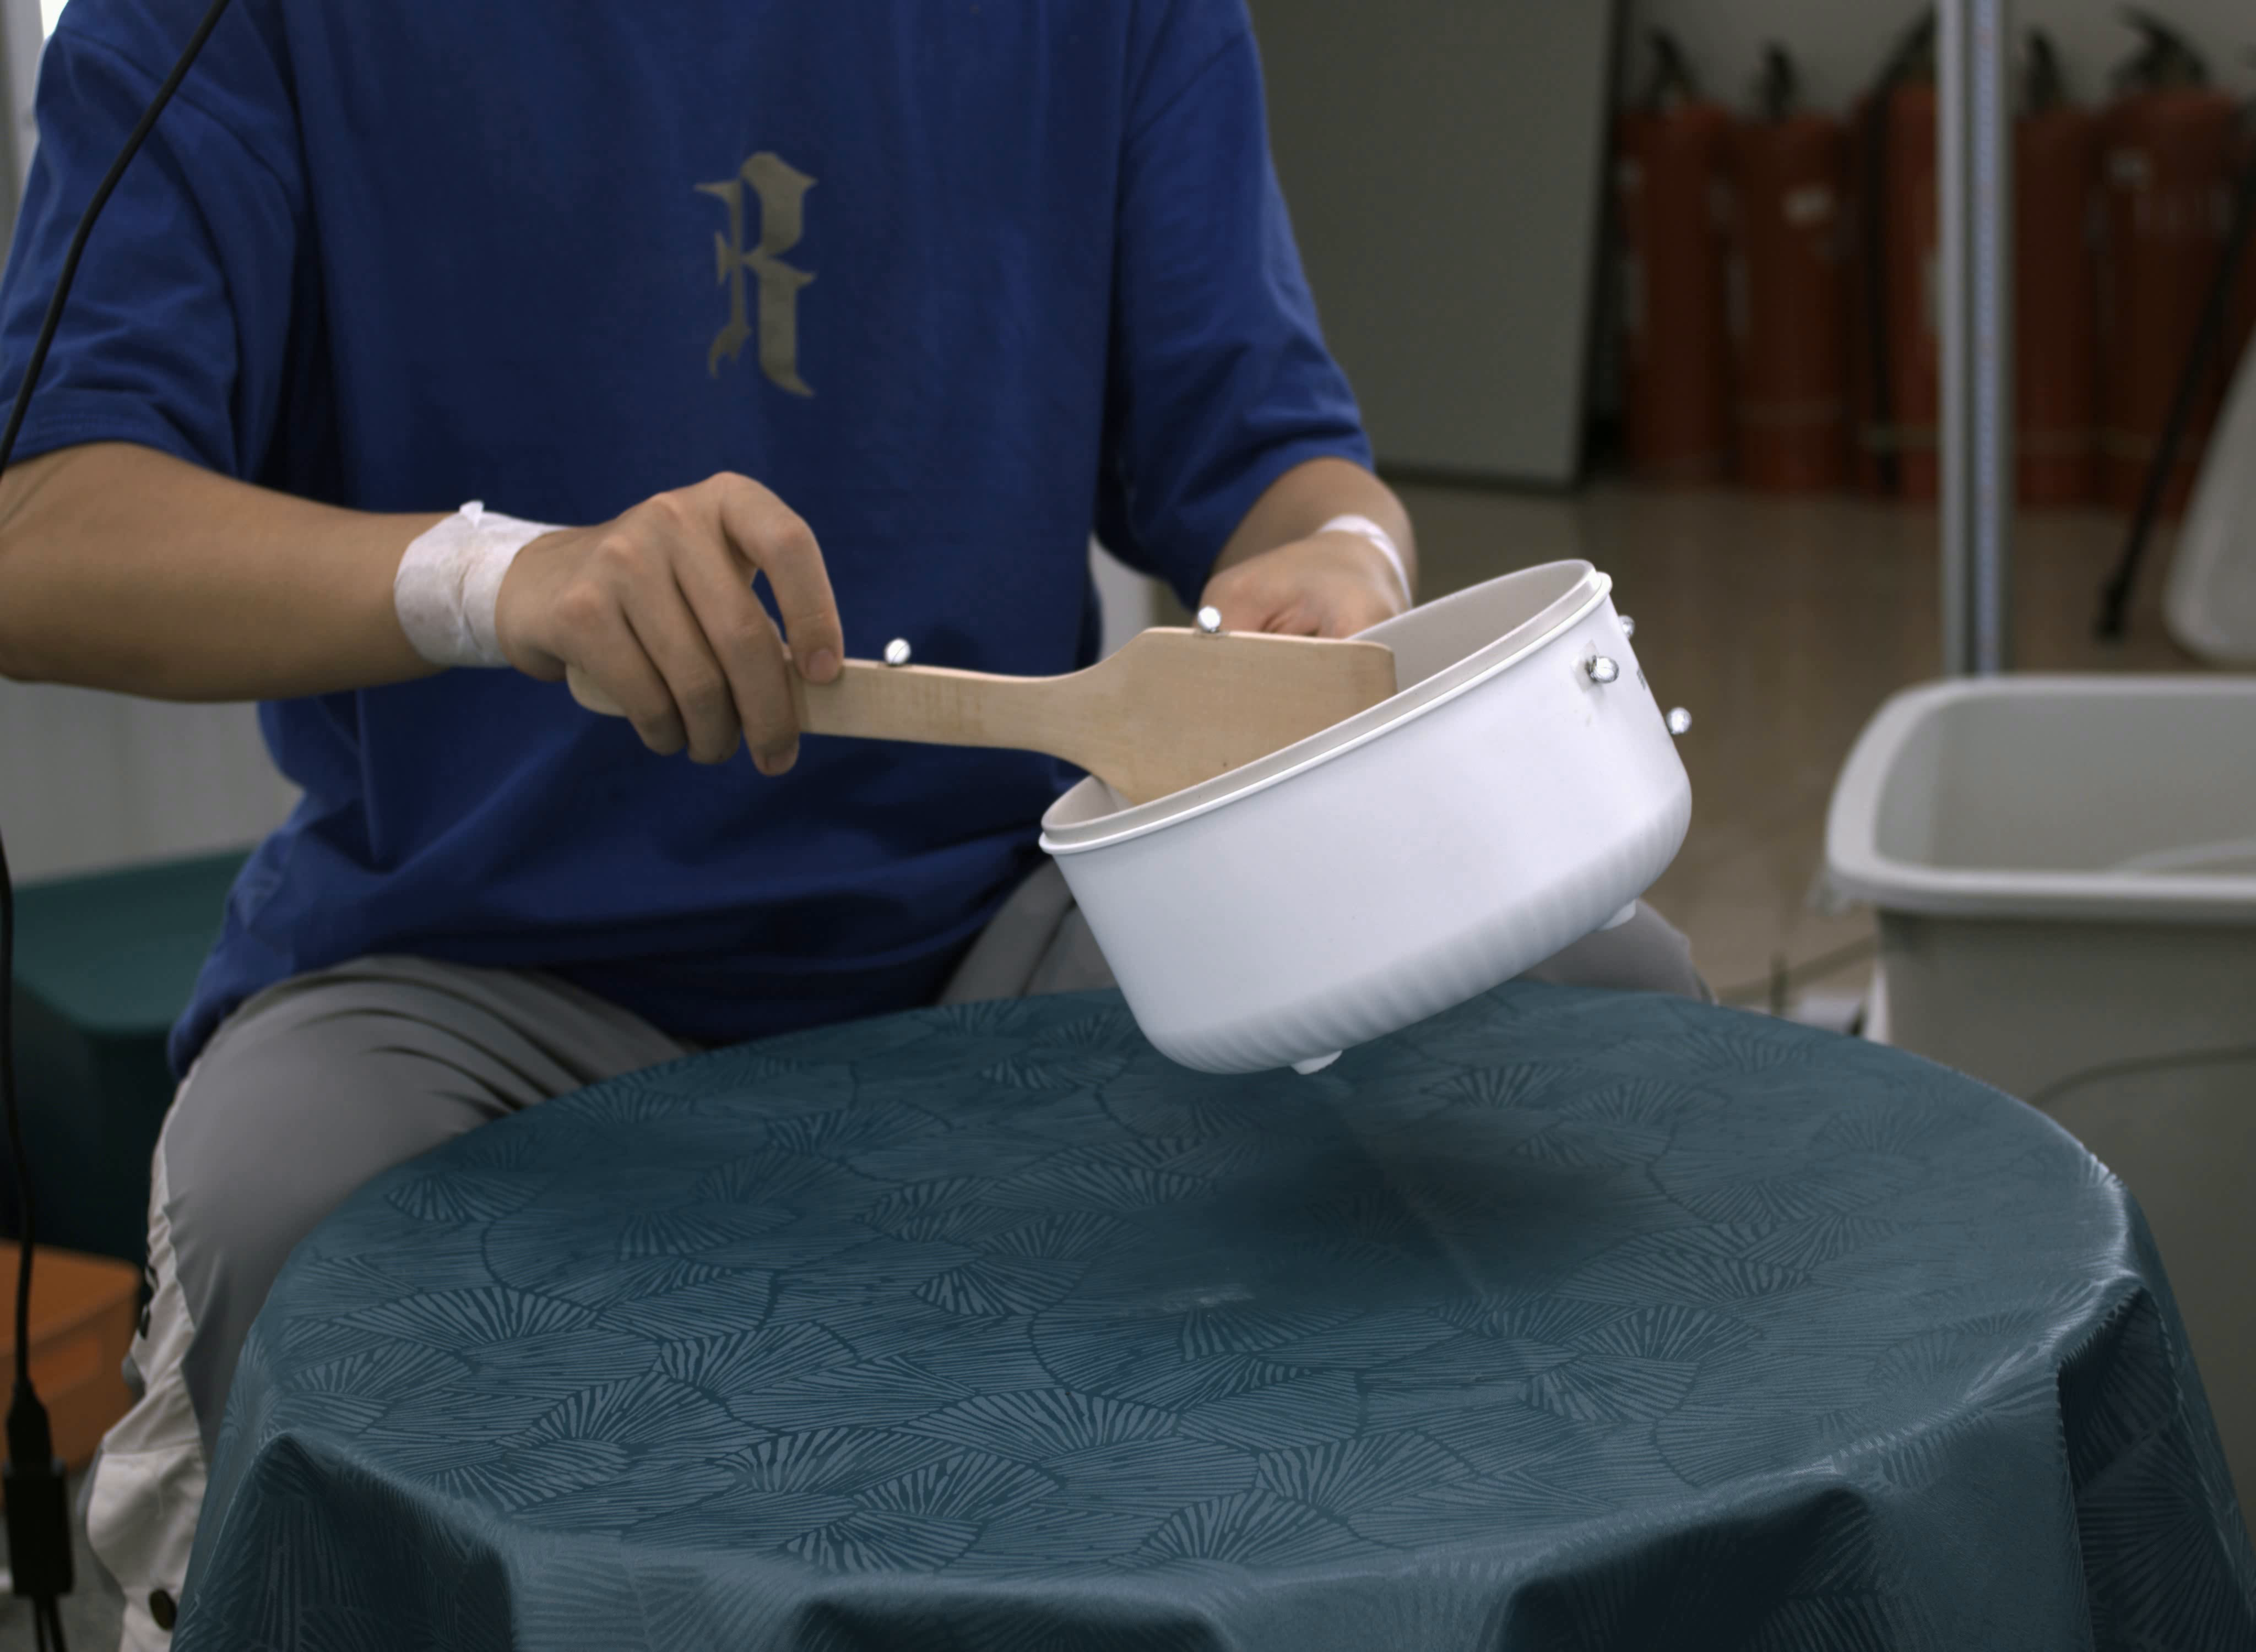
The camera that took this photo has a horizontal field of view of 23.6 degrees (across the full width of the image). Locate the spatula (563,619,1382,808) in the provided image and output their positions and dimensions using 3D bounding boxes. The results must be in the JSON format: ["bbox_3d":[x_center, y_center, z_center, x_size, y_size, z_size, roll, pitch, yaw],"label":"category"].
[{"bbox_3d":[-0.055,-0.042,1.779,0.292,0.073,0.010,6,24,20],"label":"spatula"}]

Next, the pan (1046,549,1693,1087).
[{"bbox_3d":[0.076,-0.004,1.792,0.199,0.102,0.355,-28,7,-1],"label":"pan"}]
